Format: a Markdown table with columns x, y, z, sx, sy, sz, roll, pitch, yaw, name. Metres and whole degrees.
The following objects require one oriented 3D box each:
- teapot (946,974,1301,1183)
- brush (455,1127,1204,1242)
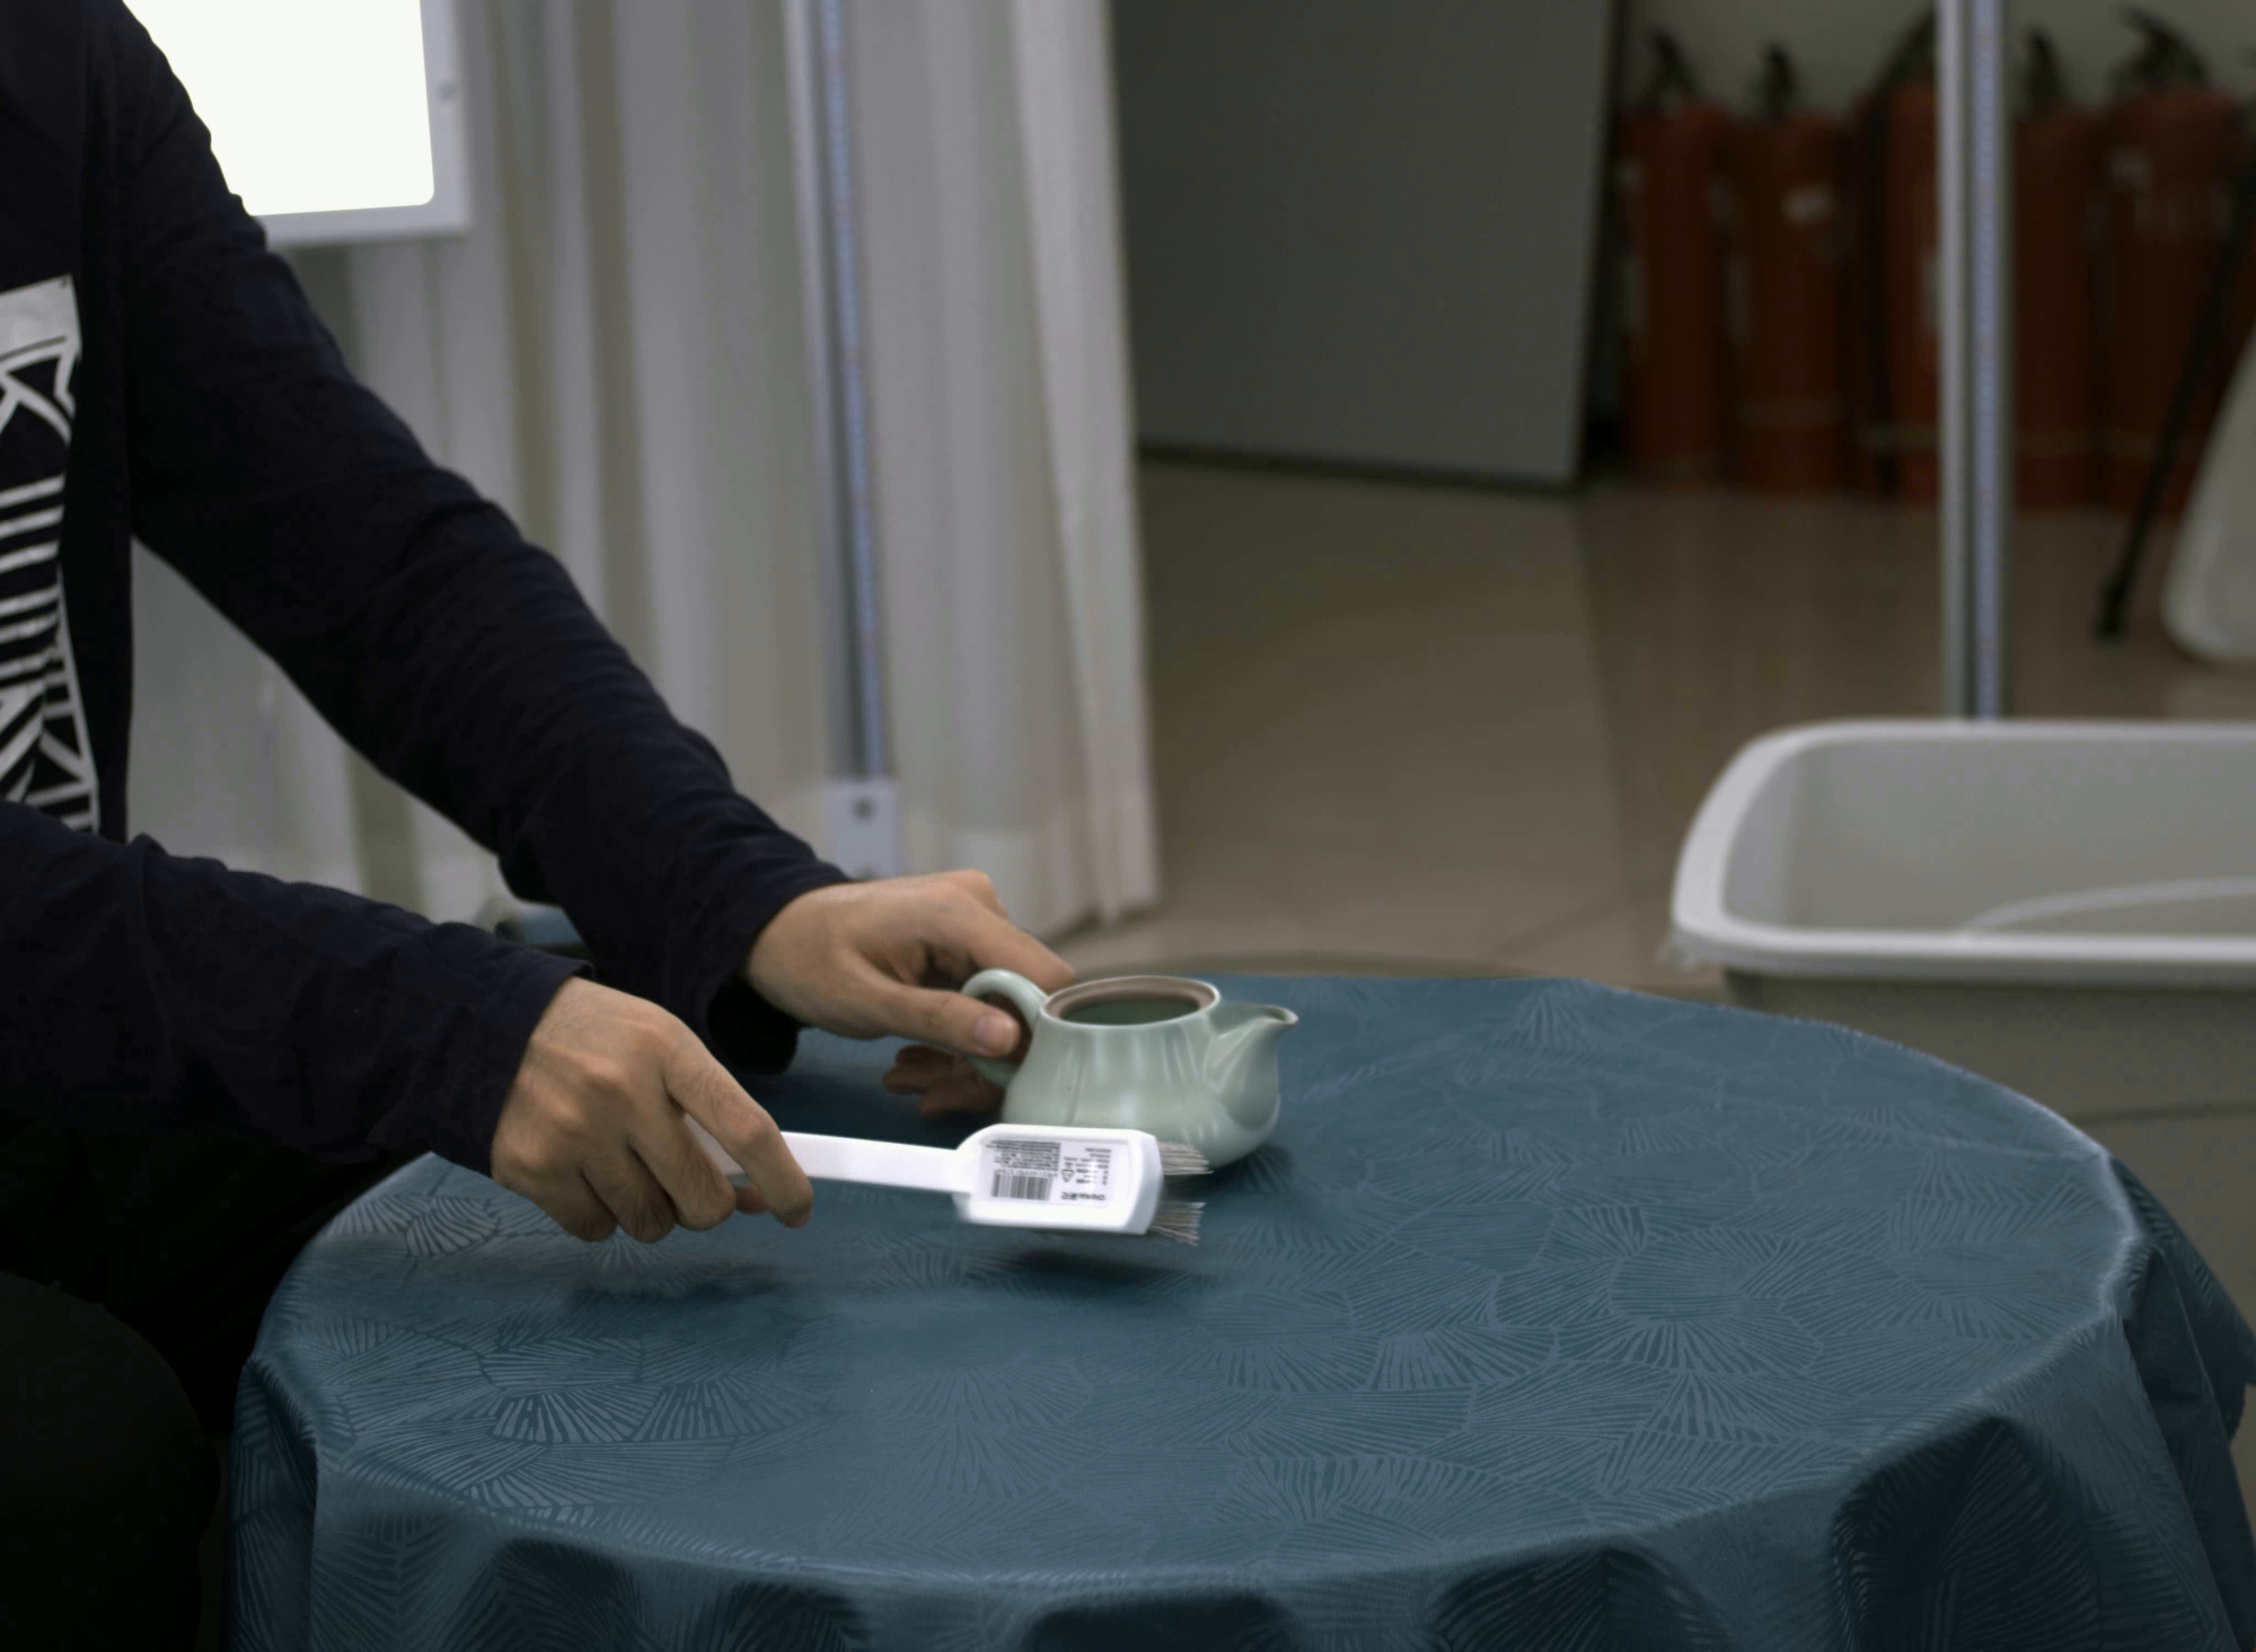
| x | y | z | sx | sy | sz | roll | pitch | yaw | name |
| --- | --- | --- | --- | --- | --- | --- | --- | --- | --- |
| -0.001 | 0.084 | 1.800 | 0.137 | 0.062 | 0.095 | 5 | 19 | 32 | teapot |
| -0.094 | 0.112 | 1.719 | 0.242 | 0.035 | 0.050 | 0 | -8 | 16 | brush |
